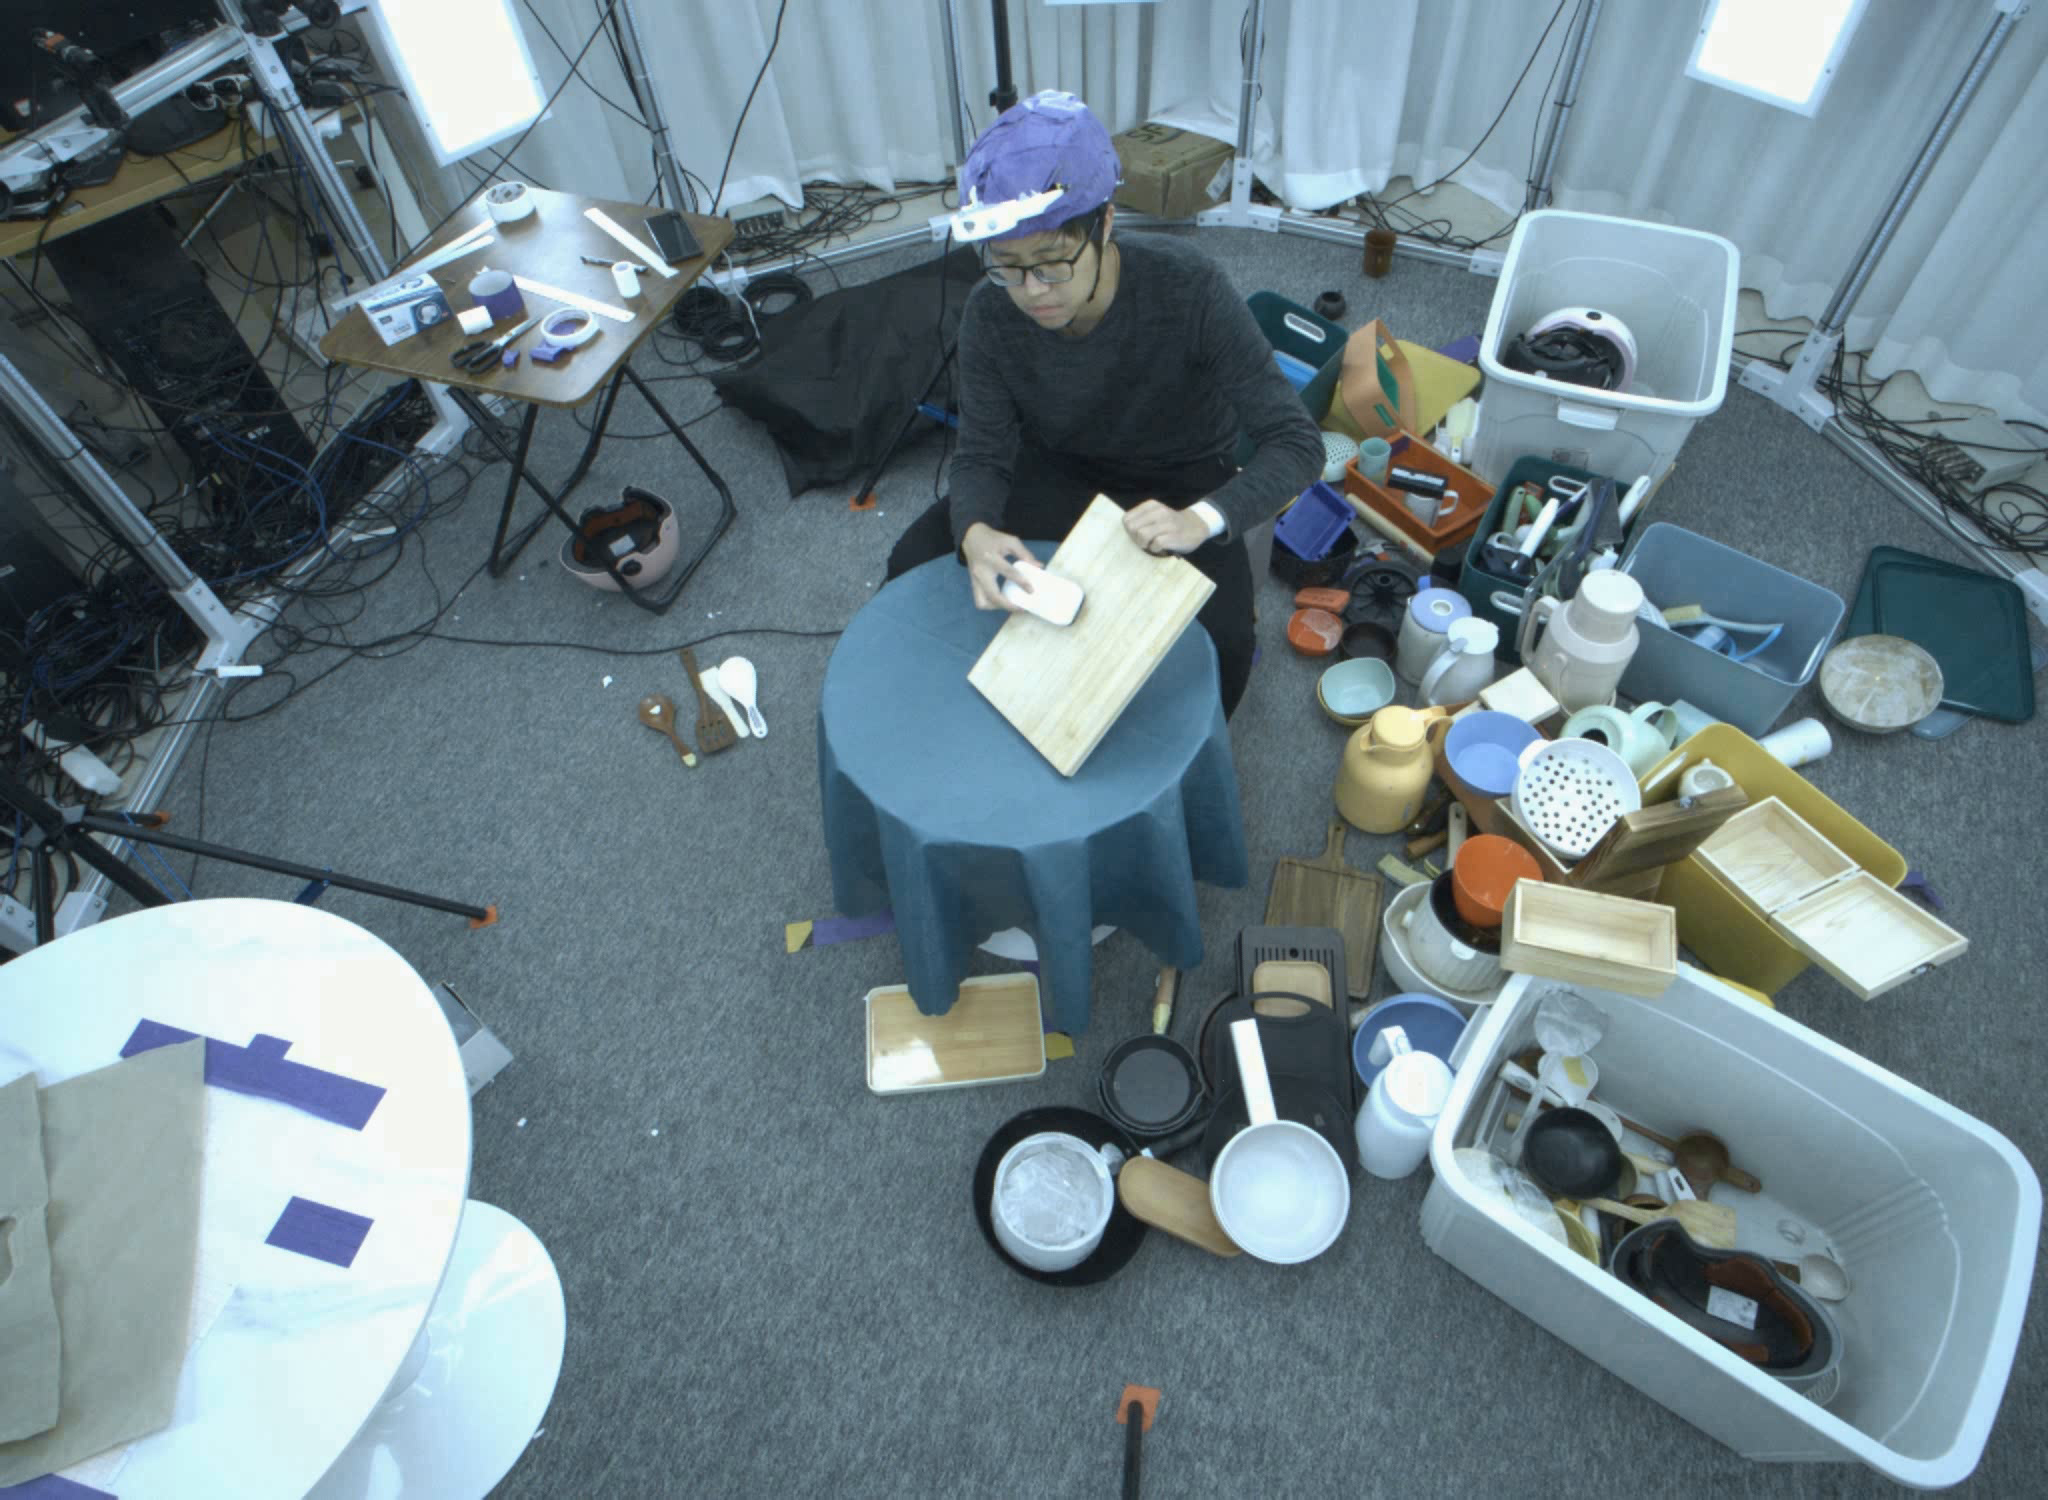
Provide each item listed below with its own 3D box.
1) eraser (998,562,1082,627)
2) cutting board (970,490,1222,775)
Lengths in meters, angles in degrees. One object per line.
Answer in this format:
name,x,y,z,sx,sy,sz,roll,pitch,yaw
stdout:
eraser,0.022,-0.227,1.783,0.128,0.035,0.063,30,99,30
cutting board,0.092,-0.171,1.762,0.246,0.024,0.348,44,106,28
